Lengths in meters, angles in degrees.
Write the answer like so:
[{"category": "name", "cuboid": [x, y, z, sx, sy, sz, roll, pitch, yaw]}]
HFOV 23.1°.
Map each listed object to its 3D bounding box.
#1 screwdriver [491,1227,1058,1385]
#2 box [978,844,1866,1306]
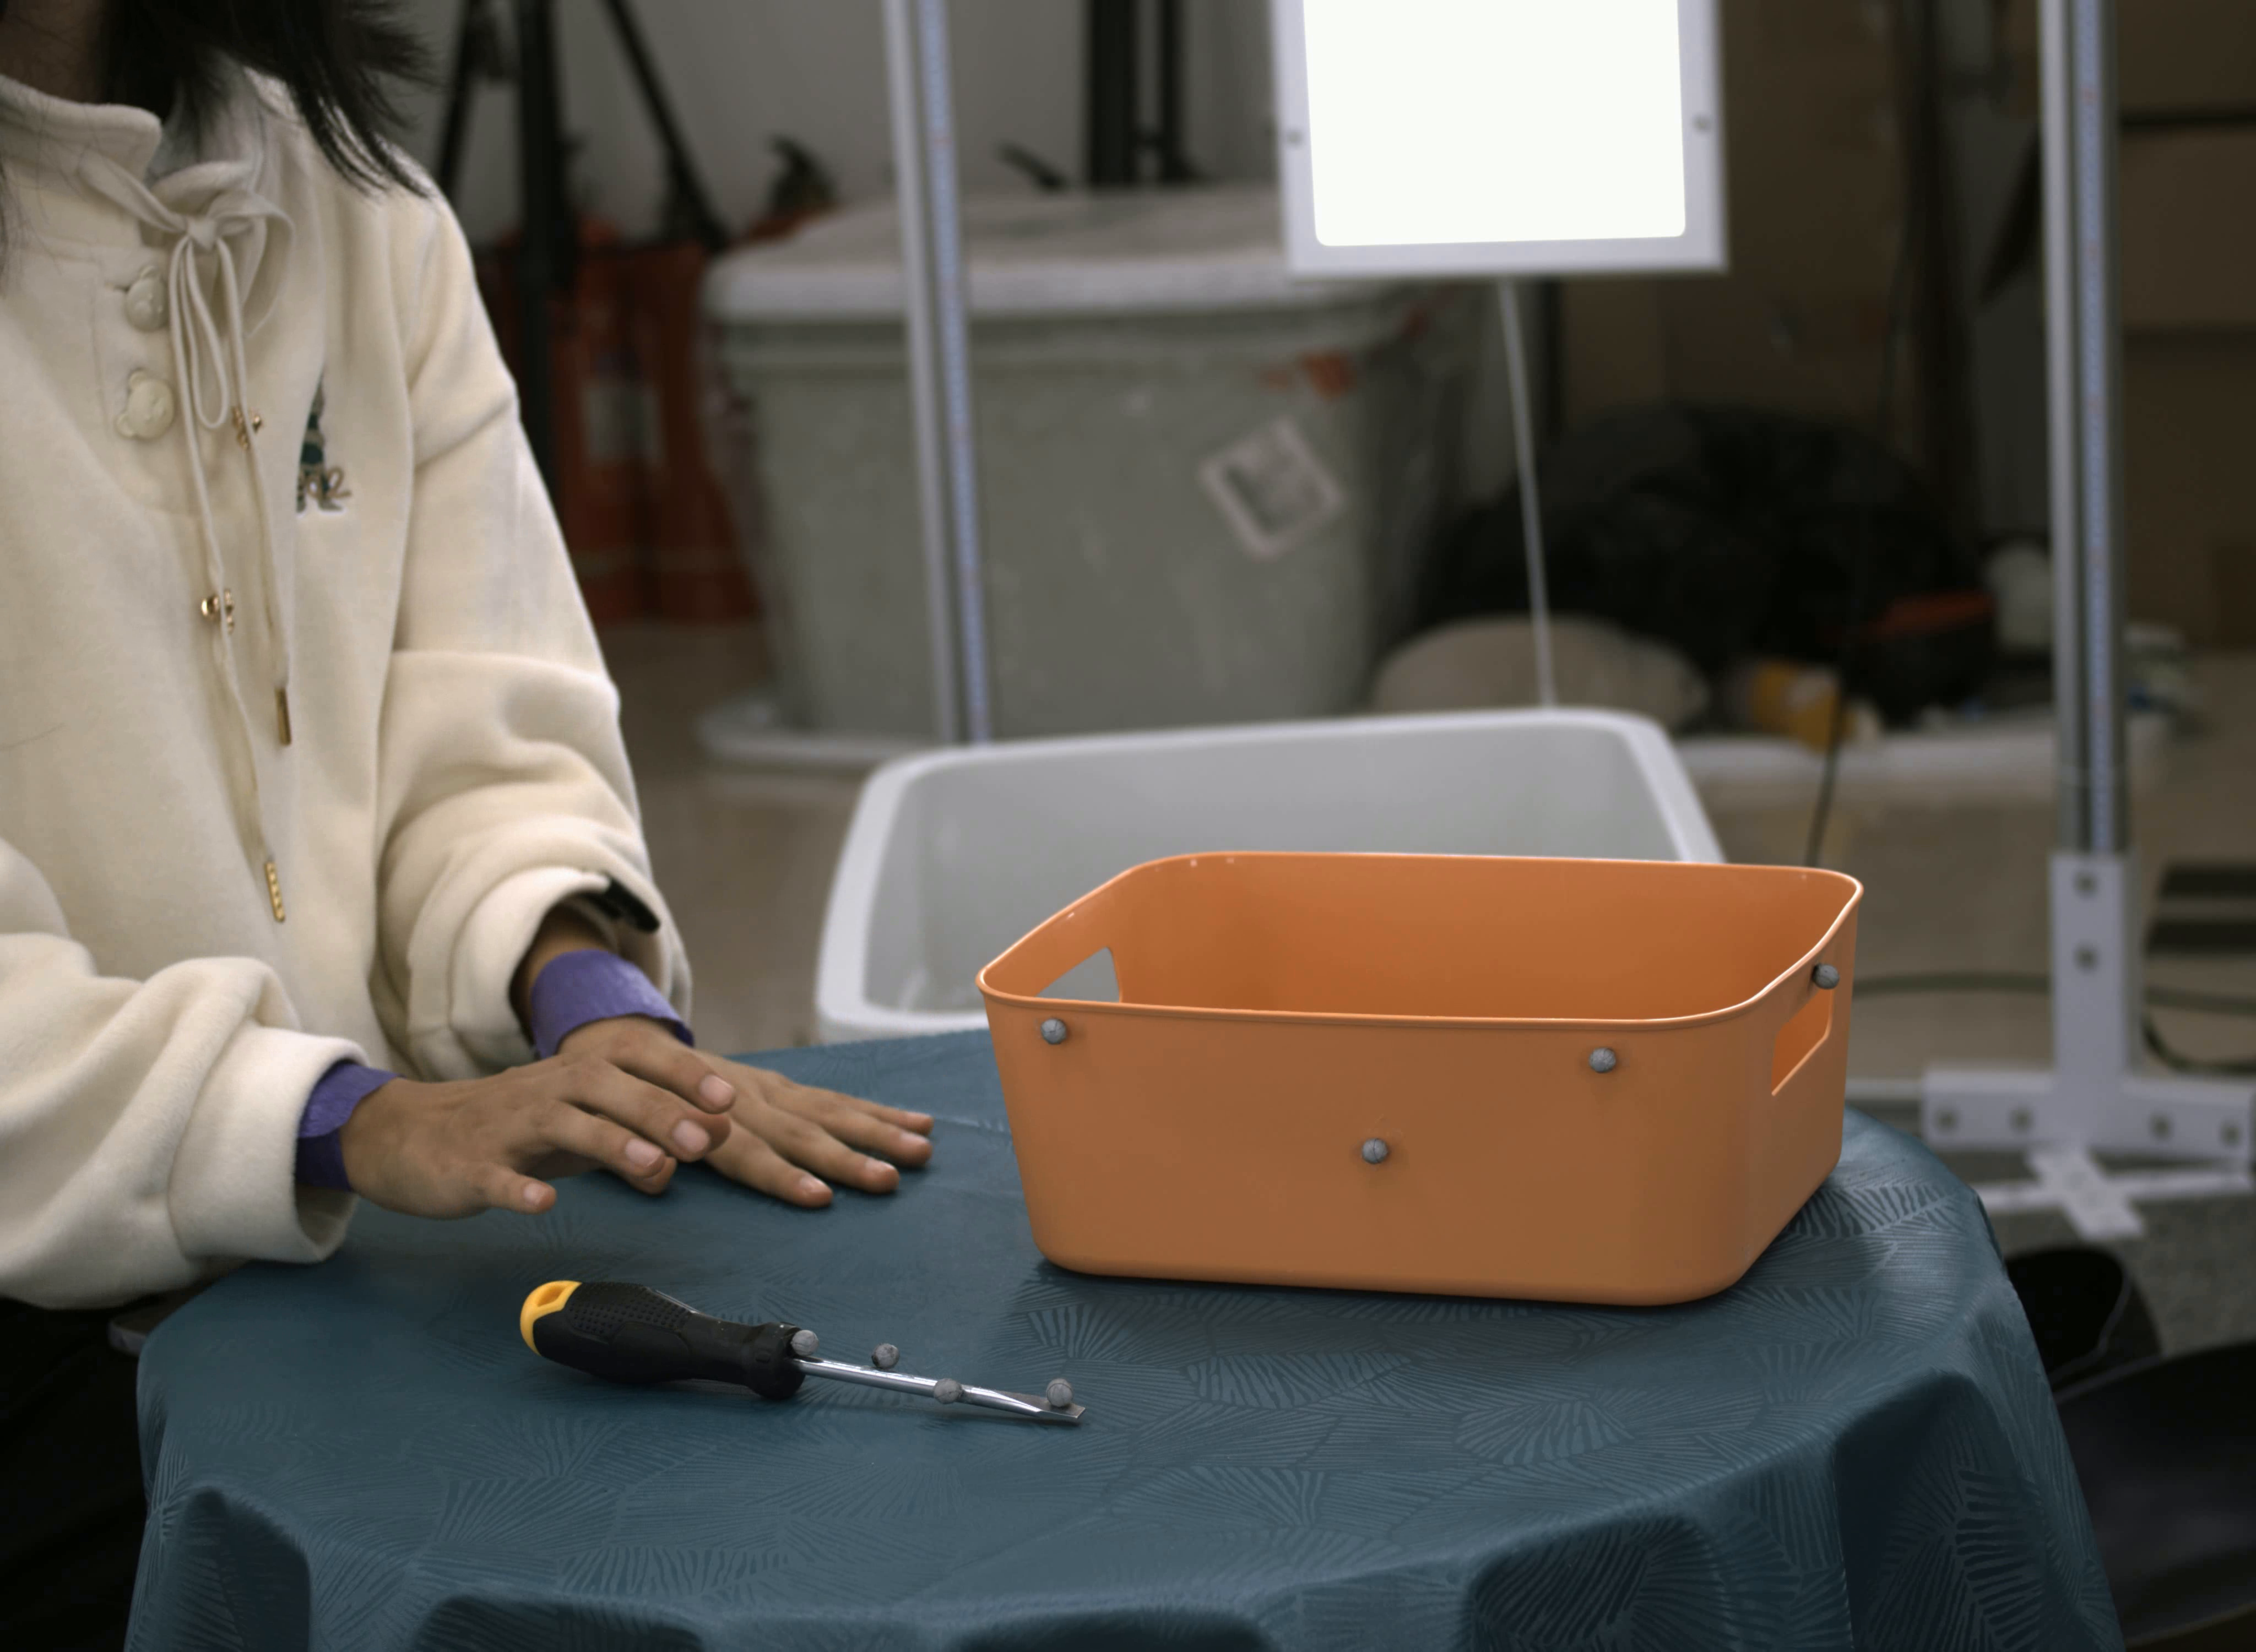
[{"category": "screwdriver", "cuboid": [-0.110, 0.153, 1.726, 0.200, 0.031, 0.031, 9, 18, 22]}, {"category": "box", "cuboid": [0.103, 0.081, 1.828, 0.277, 0.103, 0.195, 1, 16, 24]}]
